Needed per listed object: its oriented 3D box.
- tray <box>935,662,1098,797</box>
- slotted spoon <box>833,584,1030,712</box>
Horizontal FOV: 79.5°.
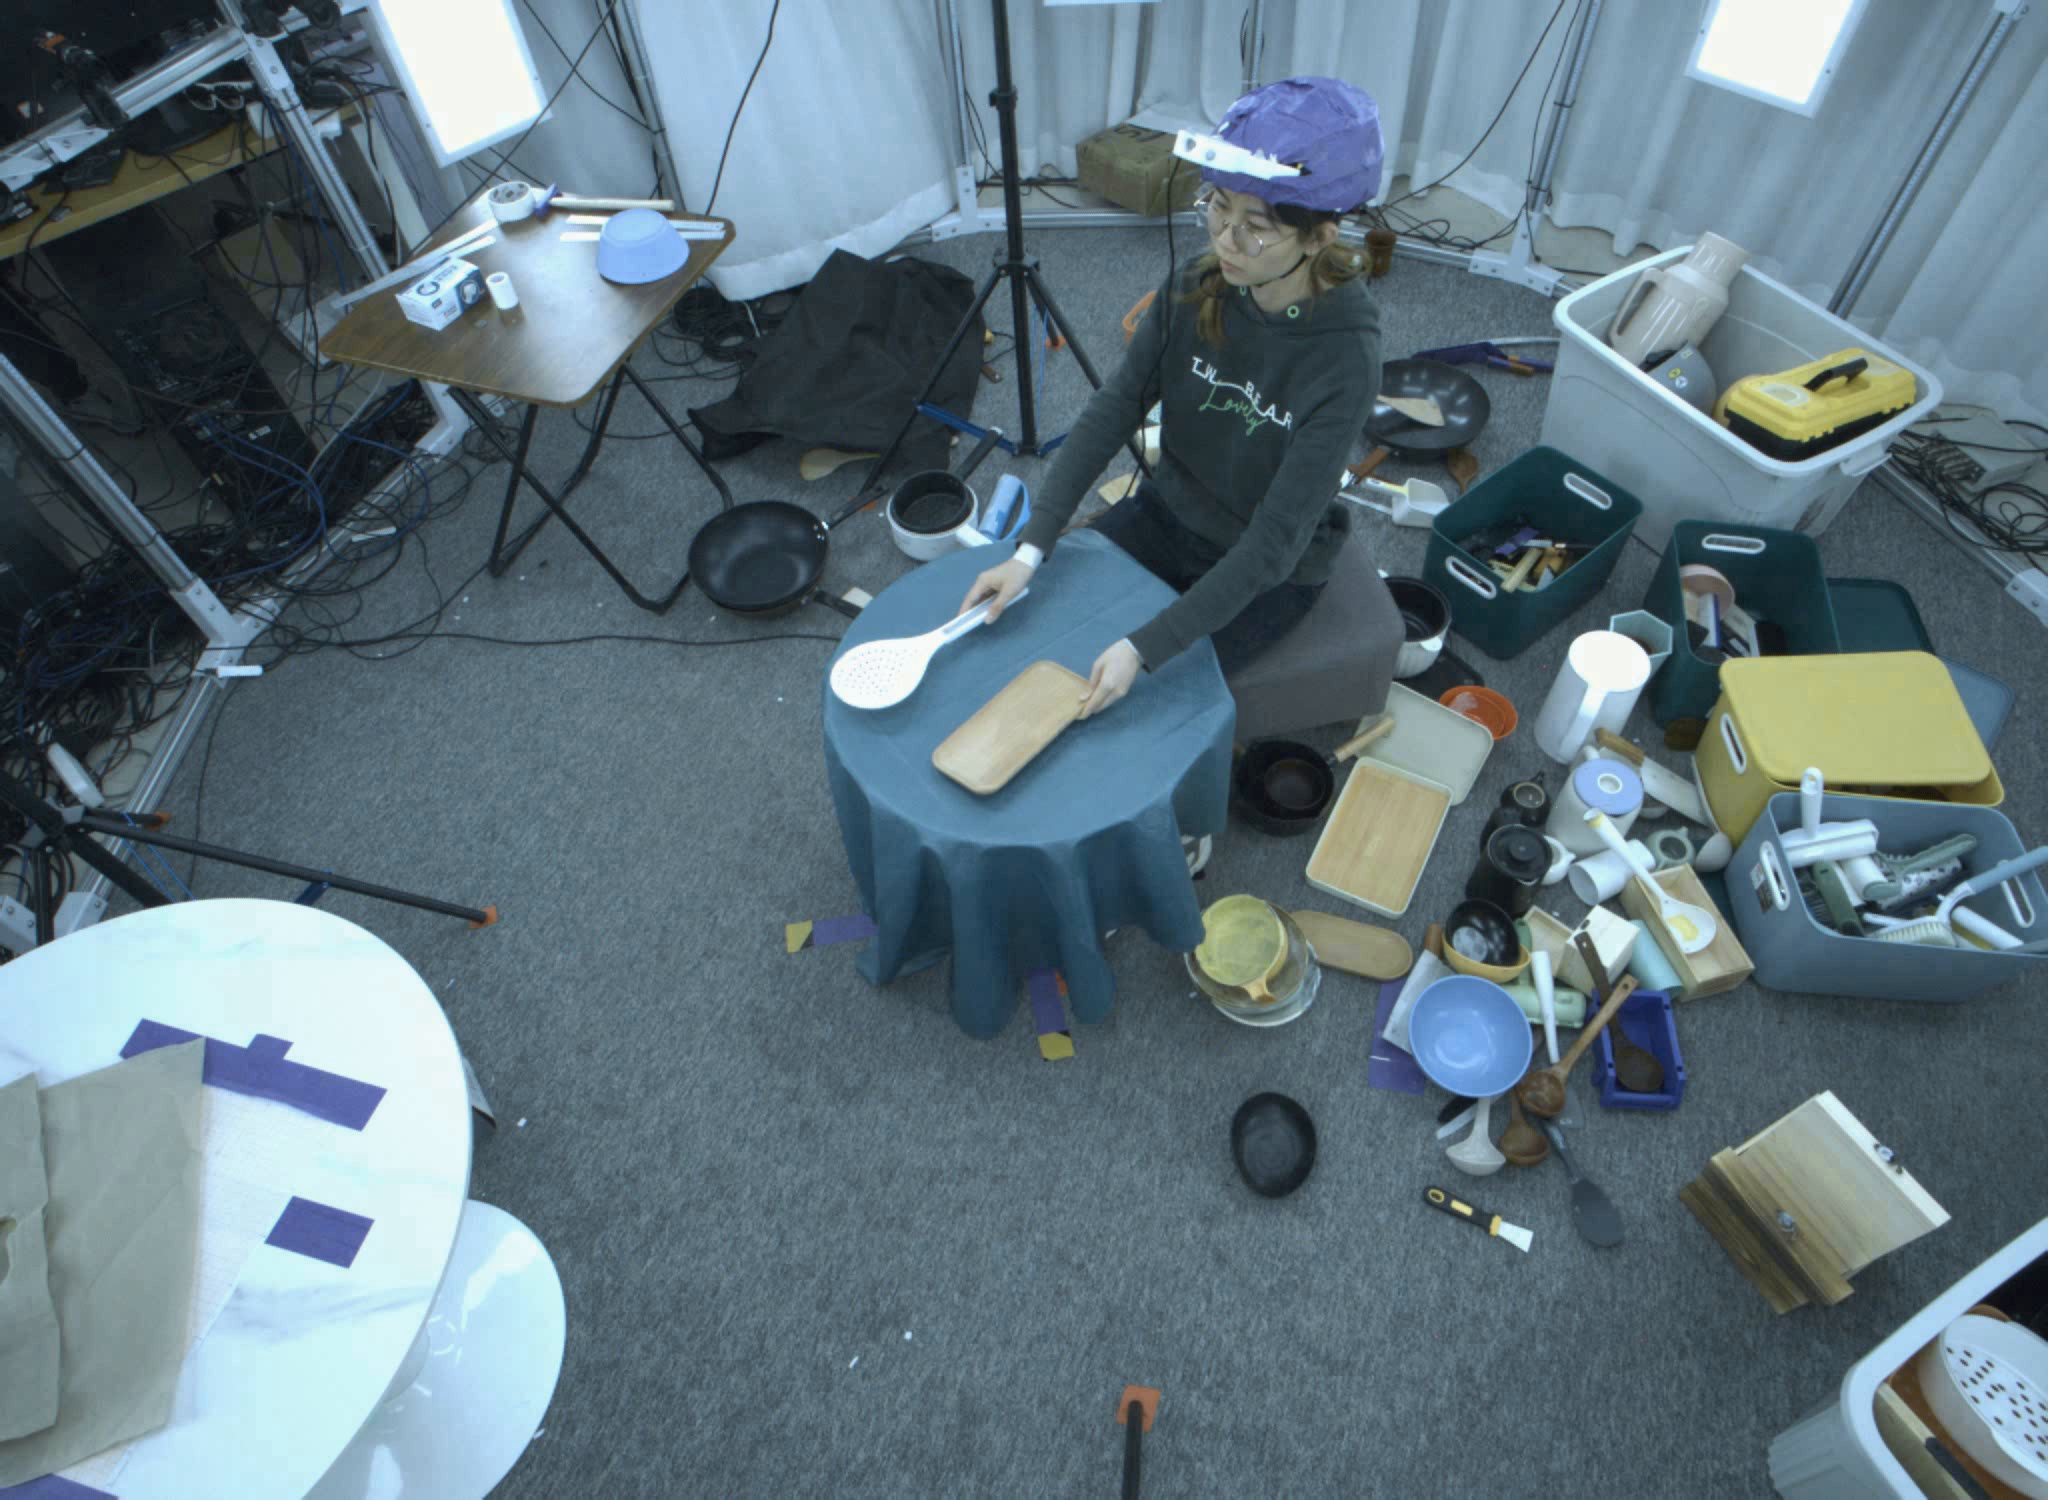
[{"bbox_3d":[-0.009,-0.032,1.793,0.128,0.023,0.252,33,62,30],"label":"tray"},{"bbox_3d":[-0.133,-0.163,1.870,0.352,0.046,0.133,-37,59,-18],"label":"slotted spoon"}]
